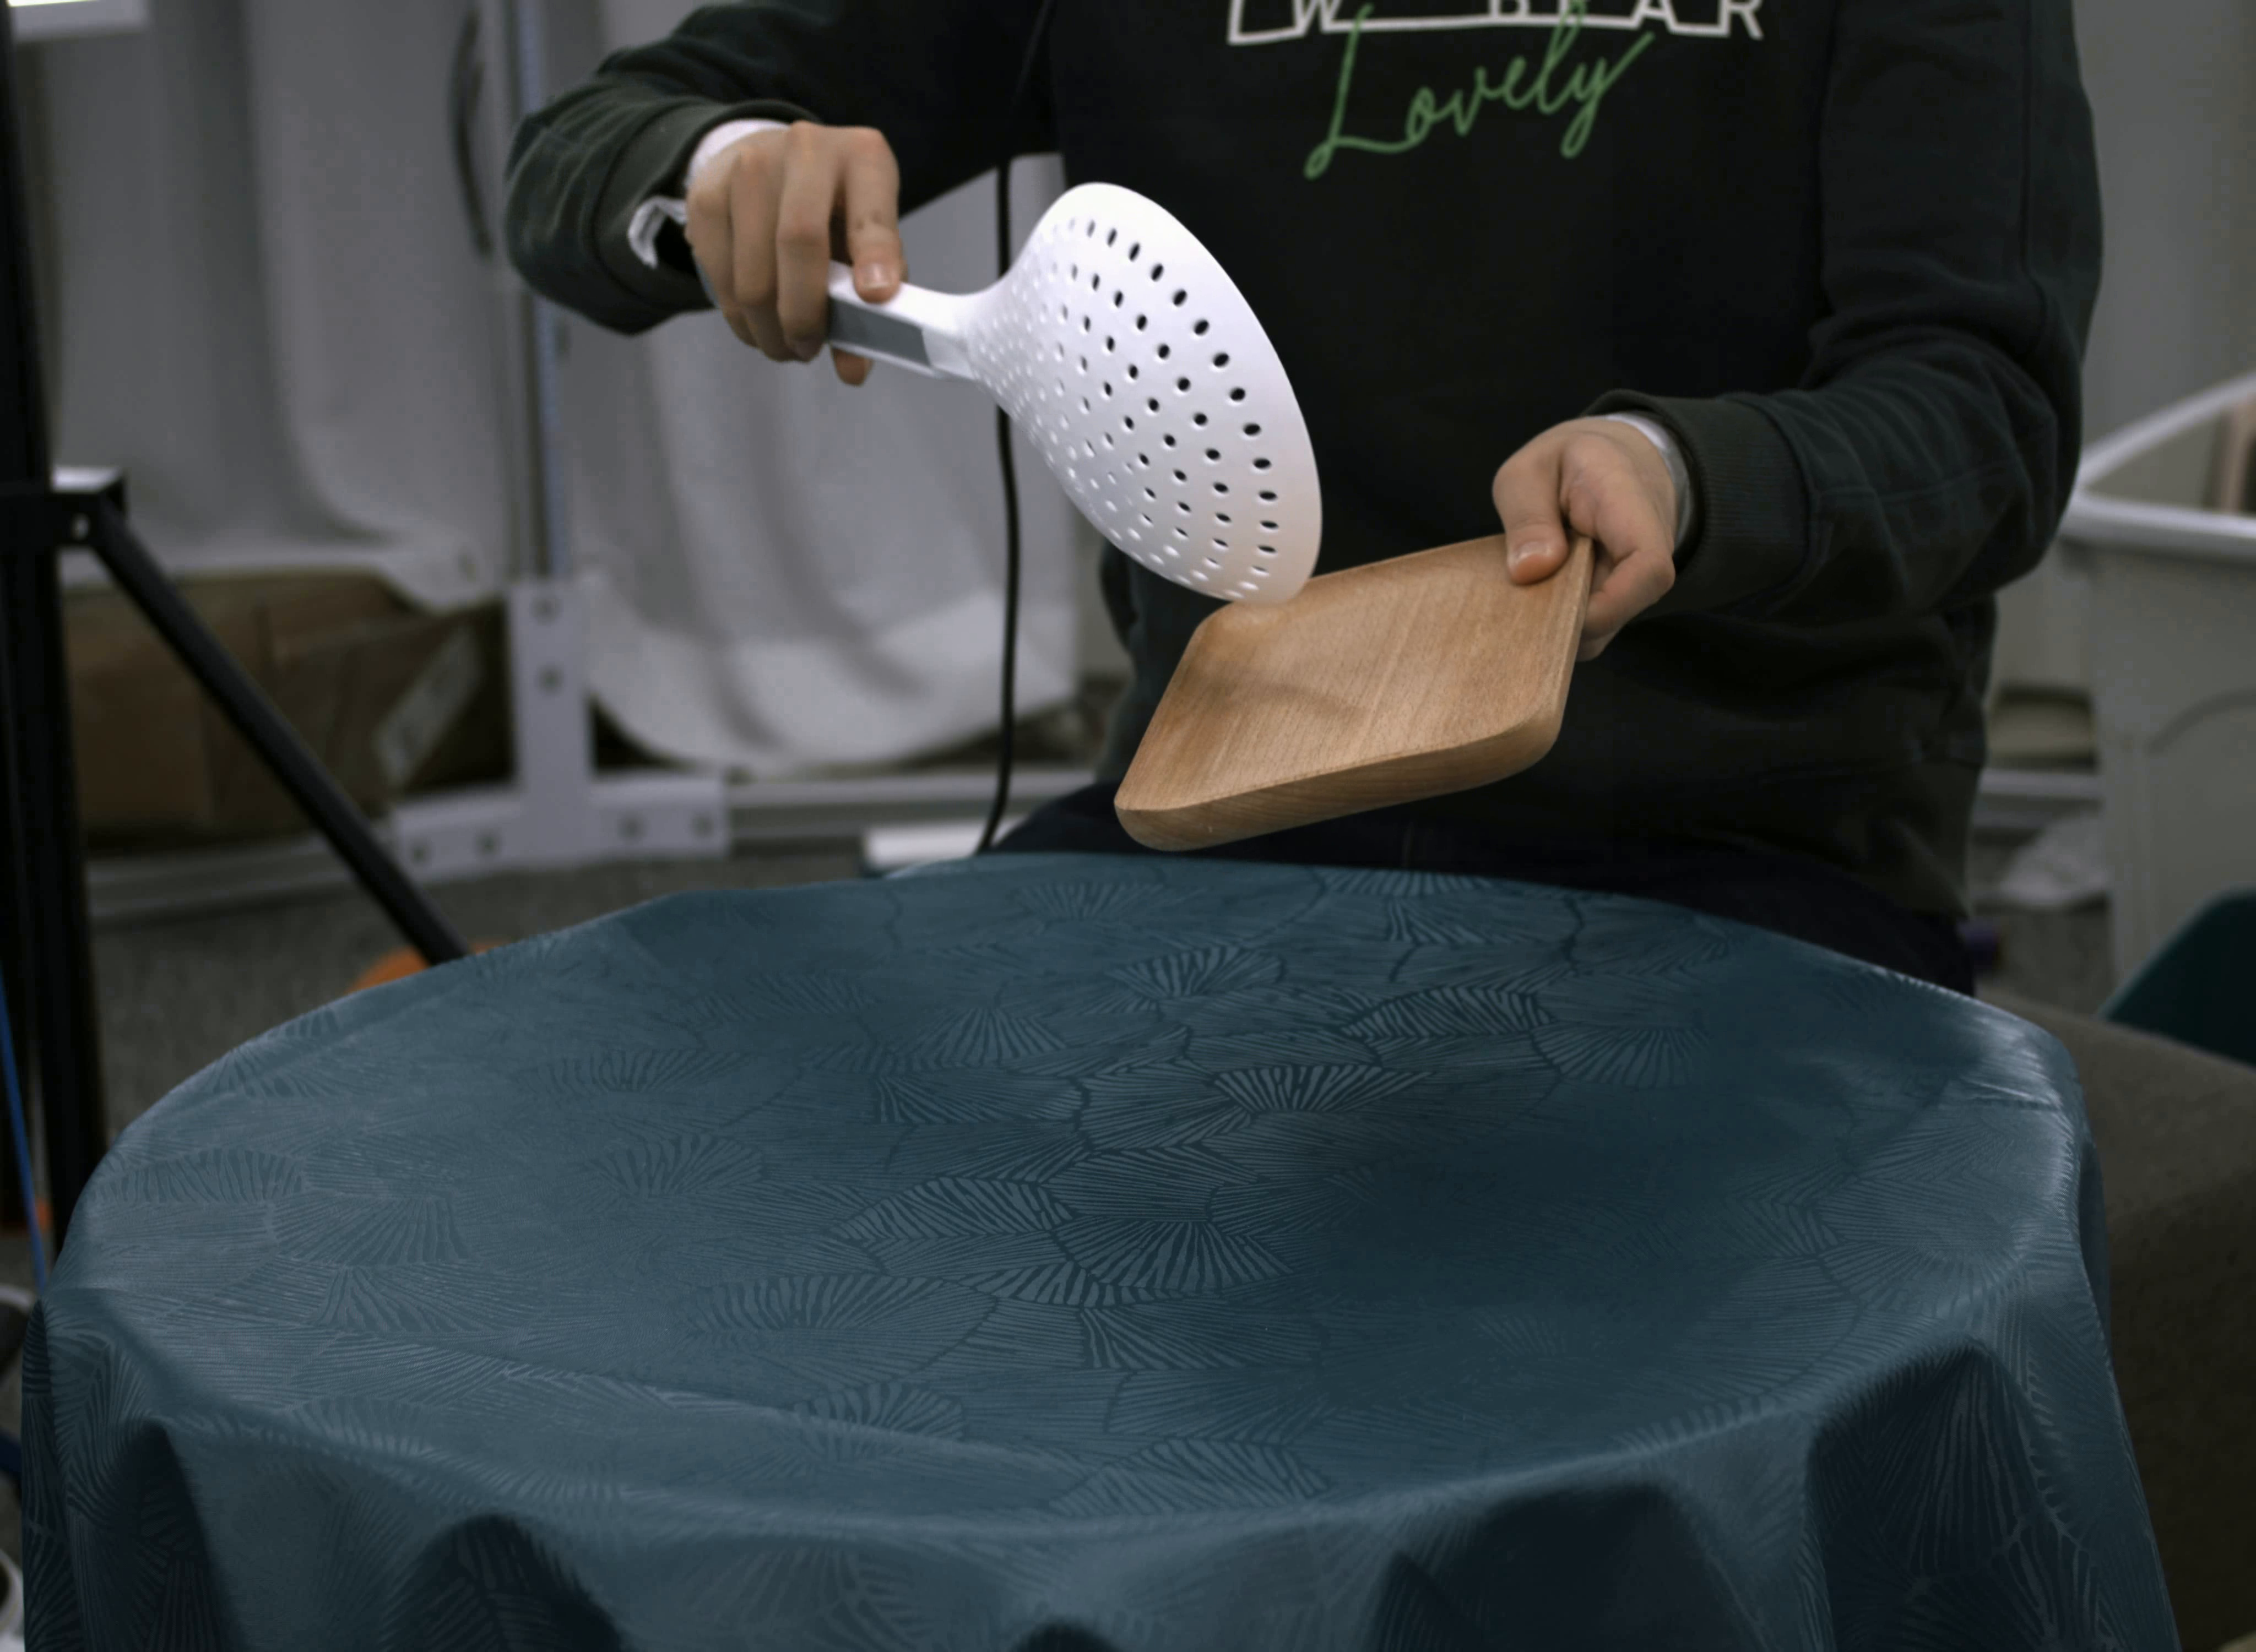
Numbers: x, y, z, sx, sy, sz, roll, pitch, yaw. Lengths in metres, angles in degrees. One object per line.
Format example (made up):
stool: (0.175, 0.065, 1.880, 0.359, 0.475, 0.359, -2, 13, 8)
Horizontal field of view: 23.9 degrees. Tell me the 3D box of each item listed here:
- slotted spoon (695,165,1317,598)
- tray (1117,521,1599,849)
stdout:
slotted spoon: (-0.048, -0.152, 1.661, 0.045, 0.135, 0.357, -24, 24, -20)
tray: (0.071, -0.043, 1.551, 0.131, 0.023, 0.250, -11, 14, 12)
